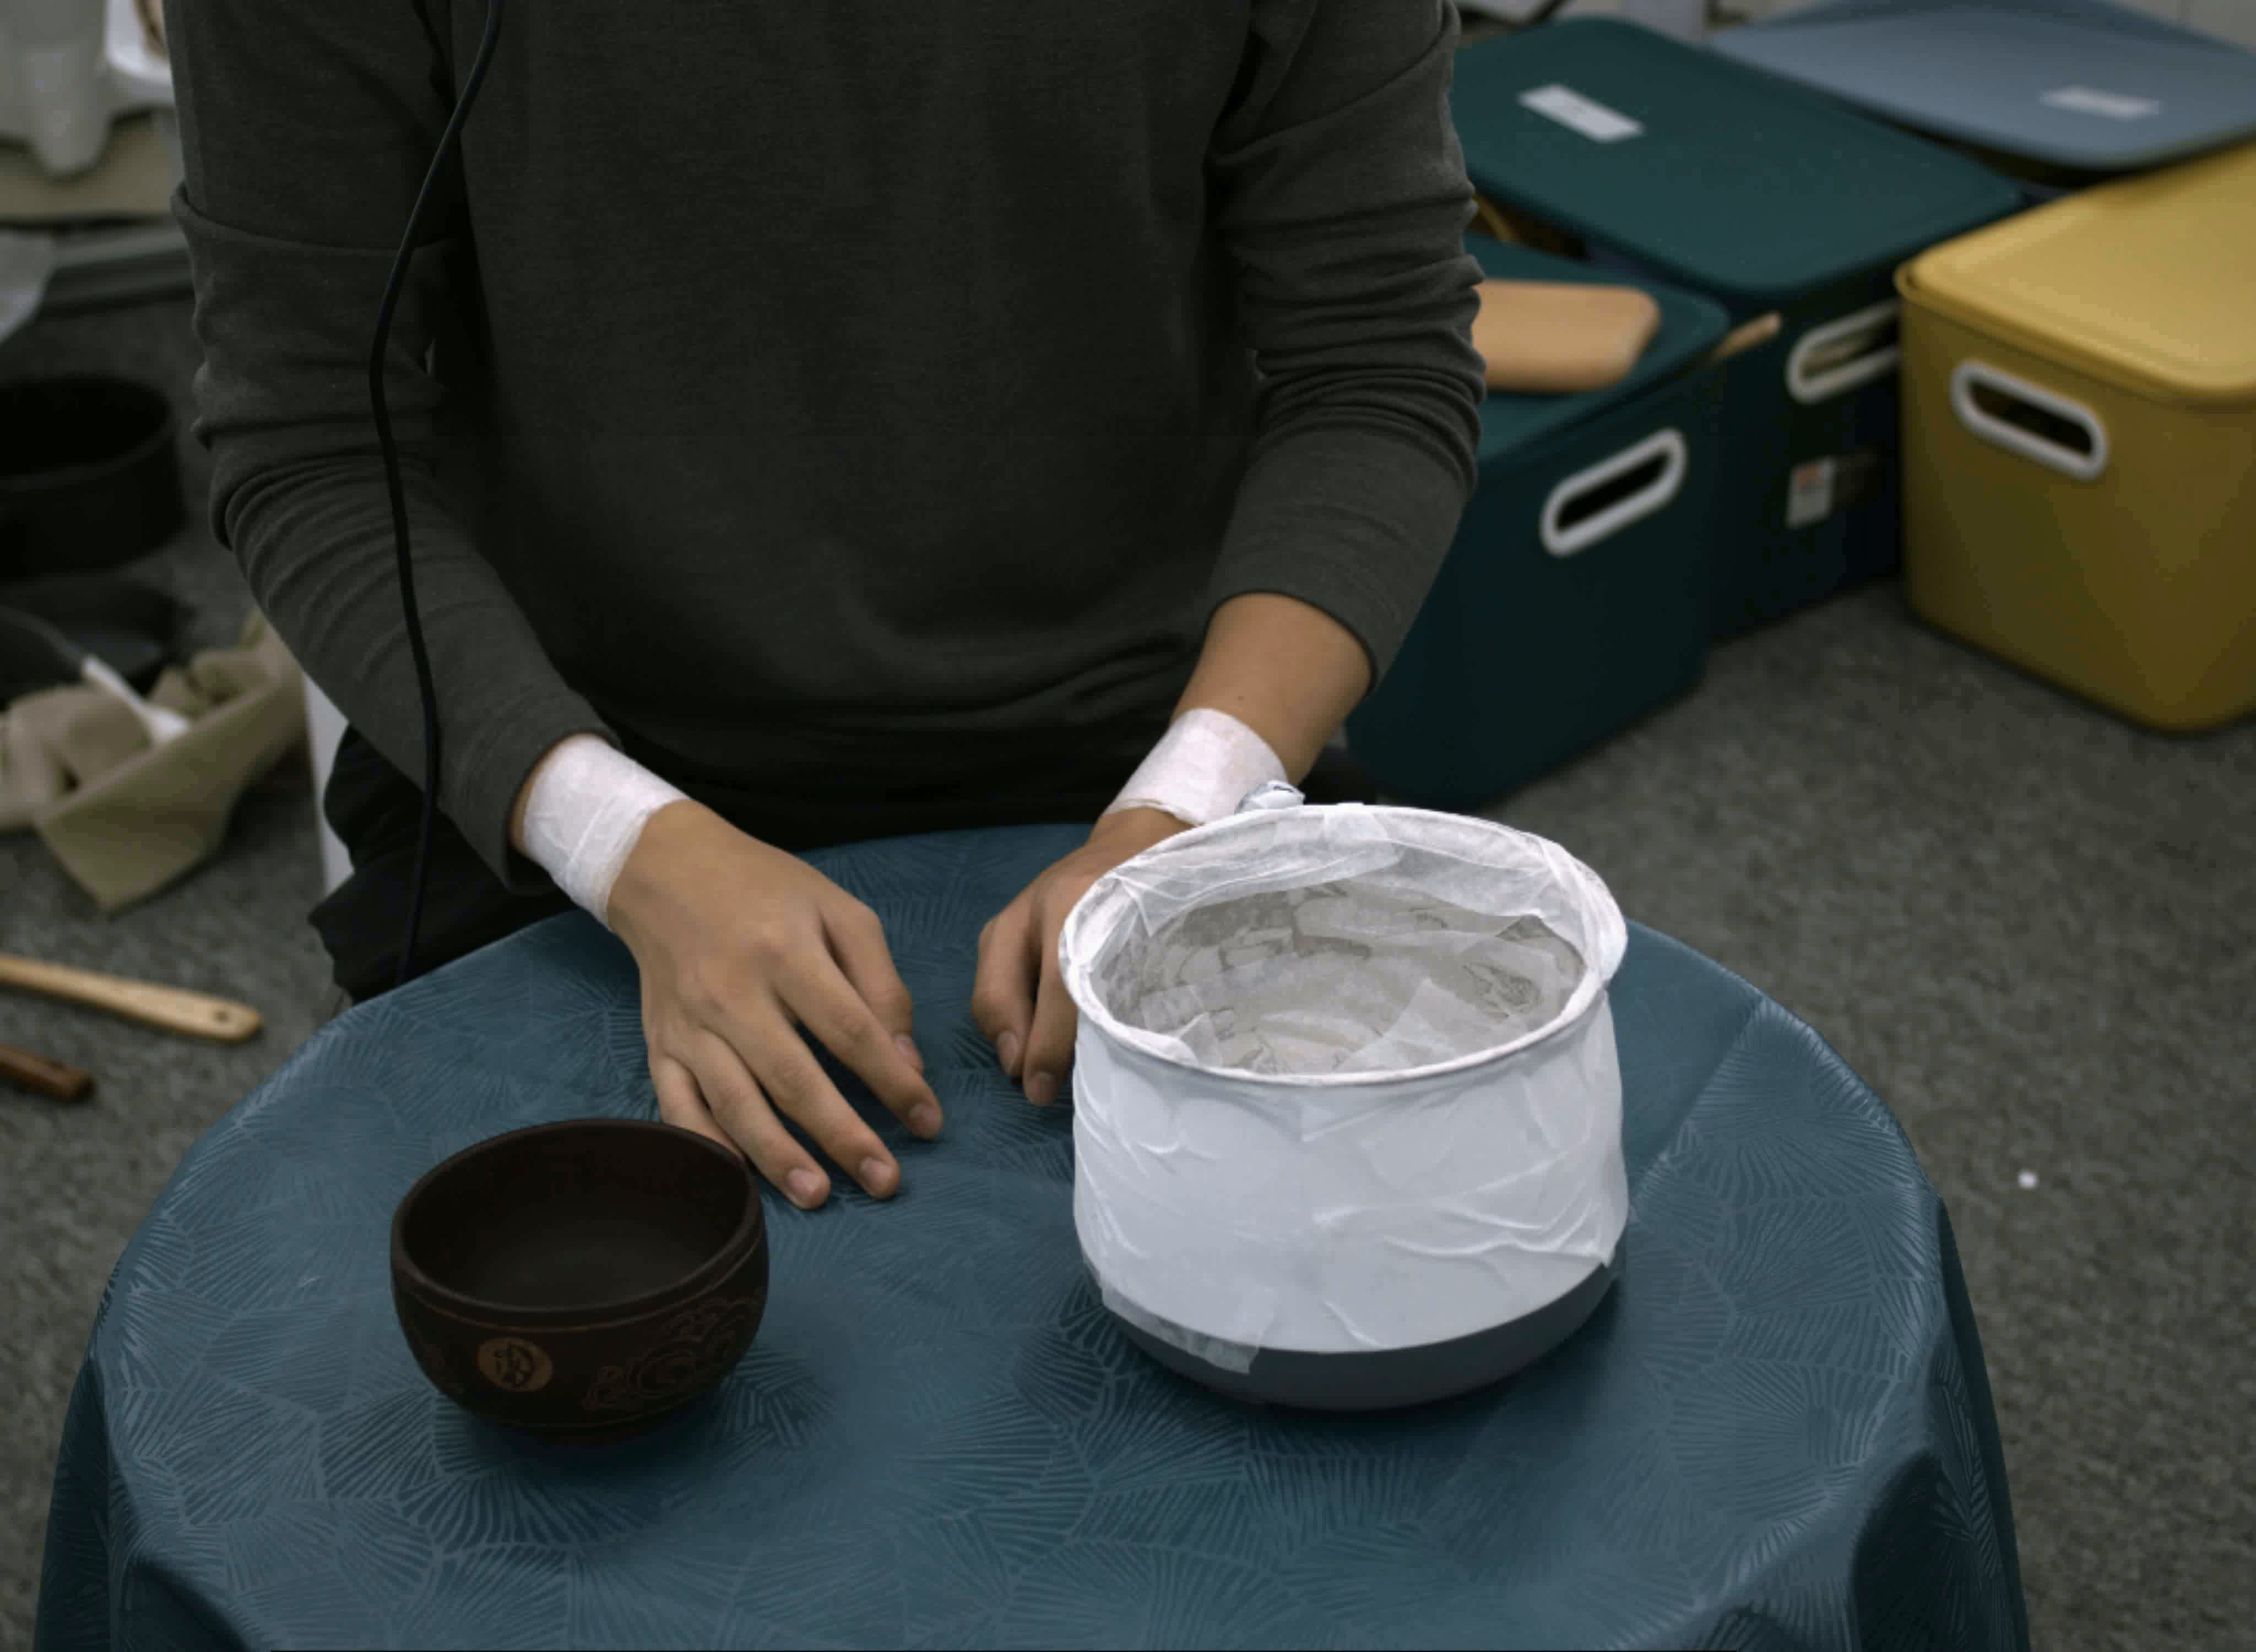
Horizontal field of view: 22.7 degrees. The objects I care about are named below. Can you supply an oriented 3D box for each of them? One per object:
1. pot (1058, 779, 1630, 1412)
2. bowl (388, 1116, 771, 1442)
[{"bbox_3d":[0.064,0.078,1.793,0.178,0.135,0.236,-7,27,-10],"label":"pot"},{"bbox_3d":[-0.169,0.148,1.748,0.117,0.069,0.120,-3,25,2],"label":"bowl"}]
